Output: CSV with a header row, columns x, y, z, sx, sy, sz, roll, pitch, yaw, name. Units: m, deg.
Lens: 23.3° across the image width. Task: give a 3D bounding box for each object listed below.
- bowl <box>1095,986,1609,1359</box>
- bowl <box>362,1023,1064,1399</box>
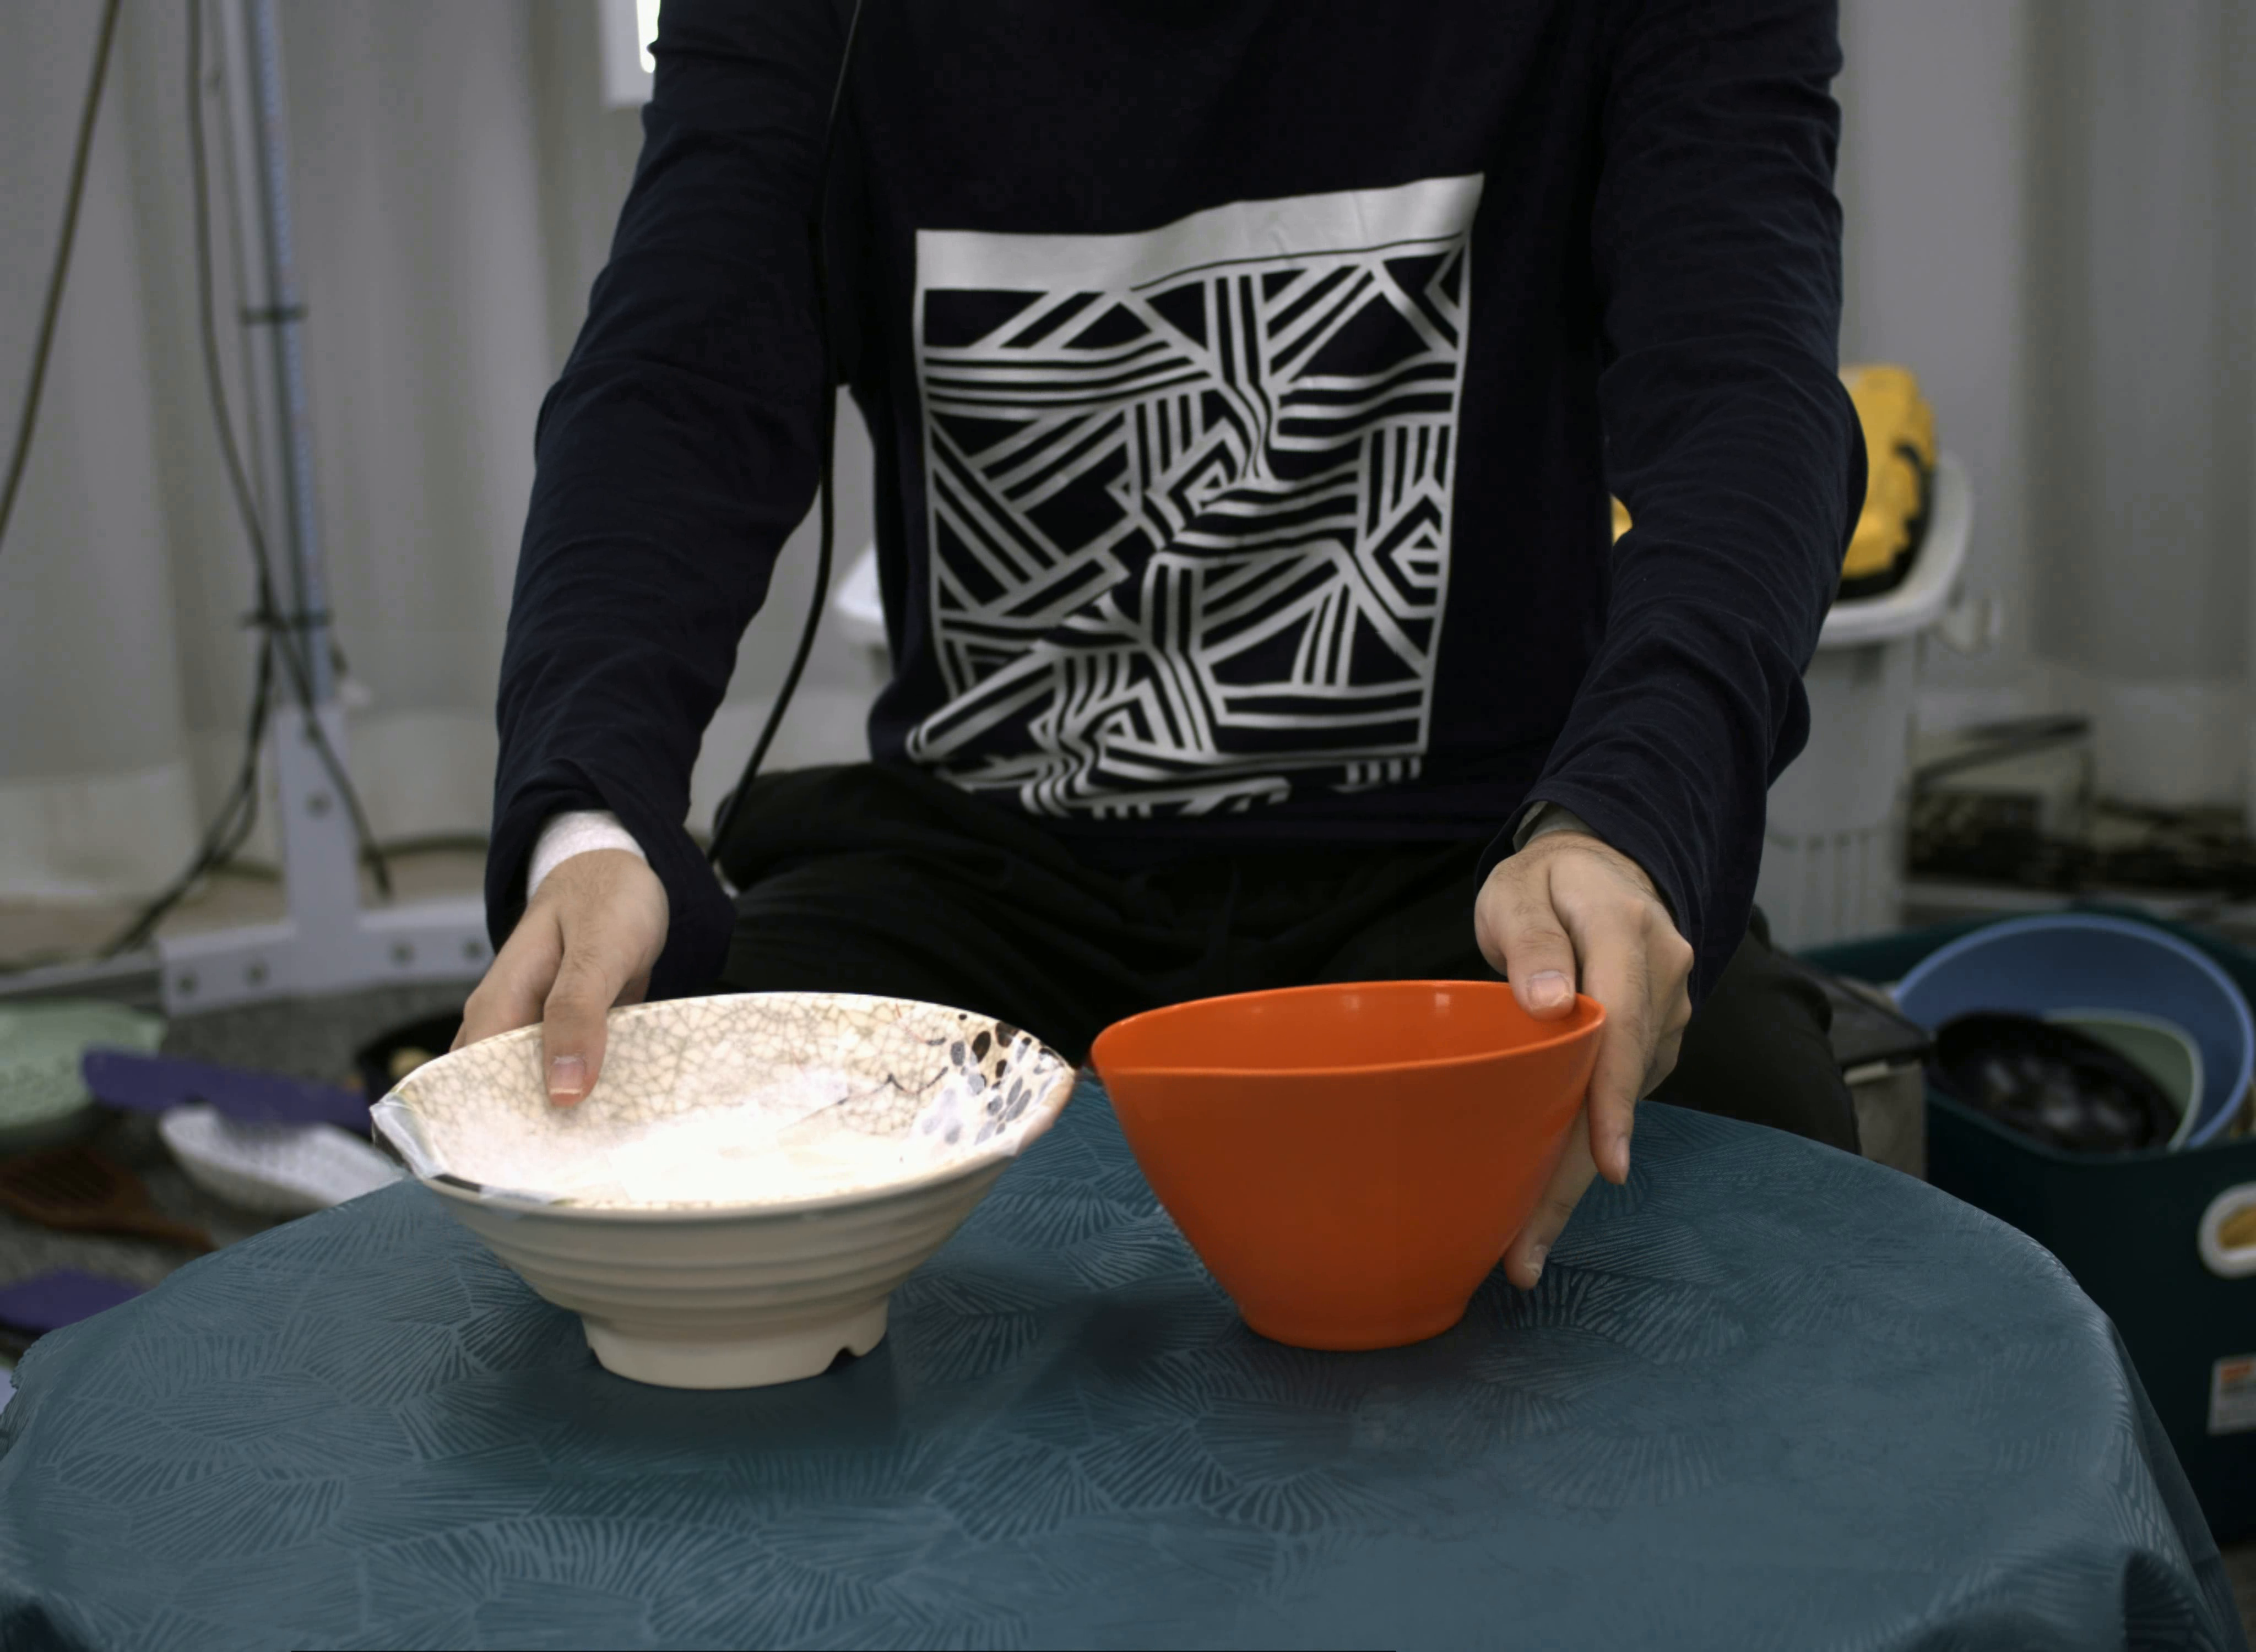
x,y,z,sx,sy,sz,roll,pitch,yaw,name
0.065,0.098,1.574,0.147,0.104,0.149,-2,15,0,bowl
-0.120,0.117,1.593,0.203,0.078,0.205,0,11,0,bowl
